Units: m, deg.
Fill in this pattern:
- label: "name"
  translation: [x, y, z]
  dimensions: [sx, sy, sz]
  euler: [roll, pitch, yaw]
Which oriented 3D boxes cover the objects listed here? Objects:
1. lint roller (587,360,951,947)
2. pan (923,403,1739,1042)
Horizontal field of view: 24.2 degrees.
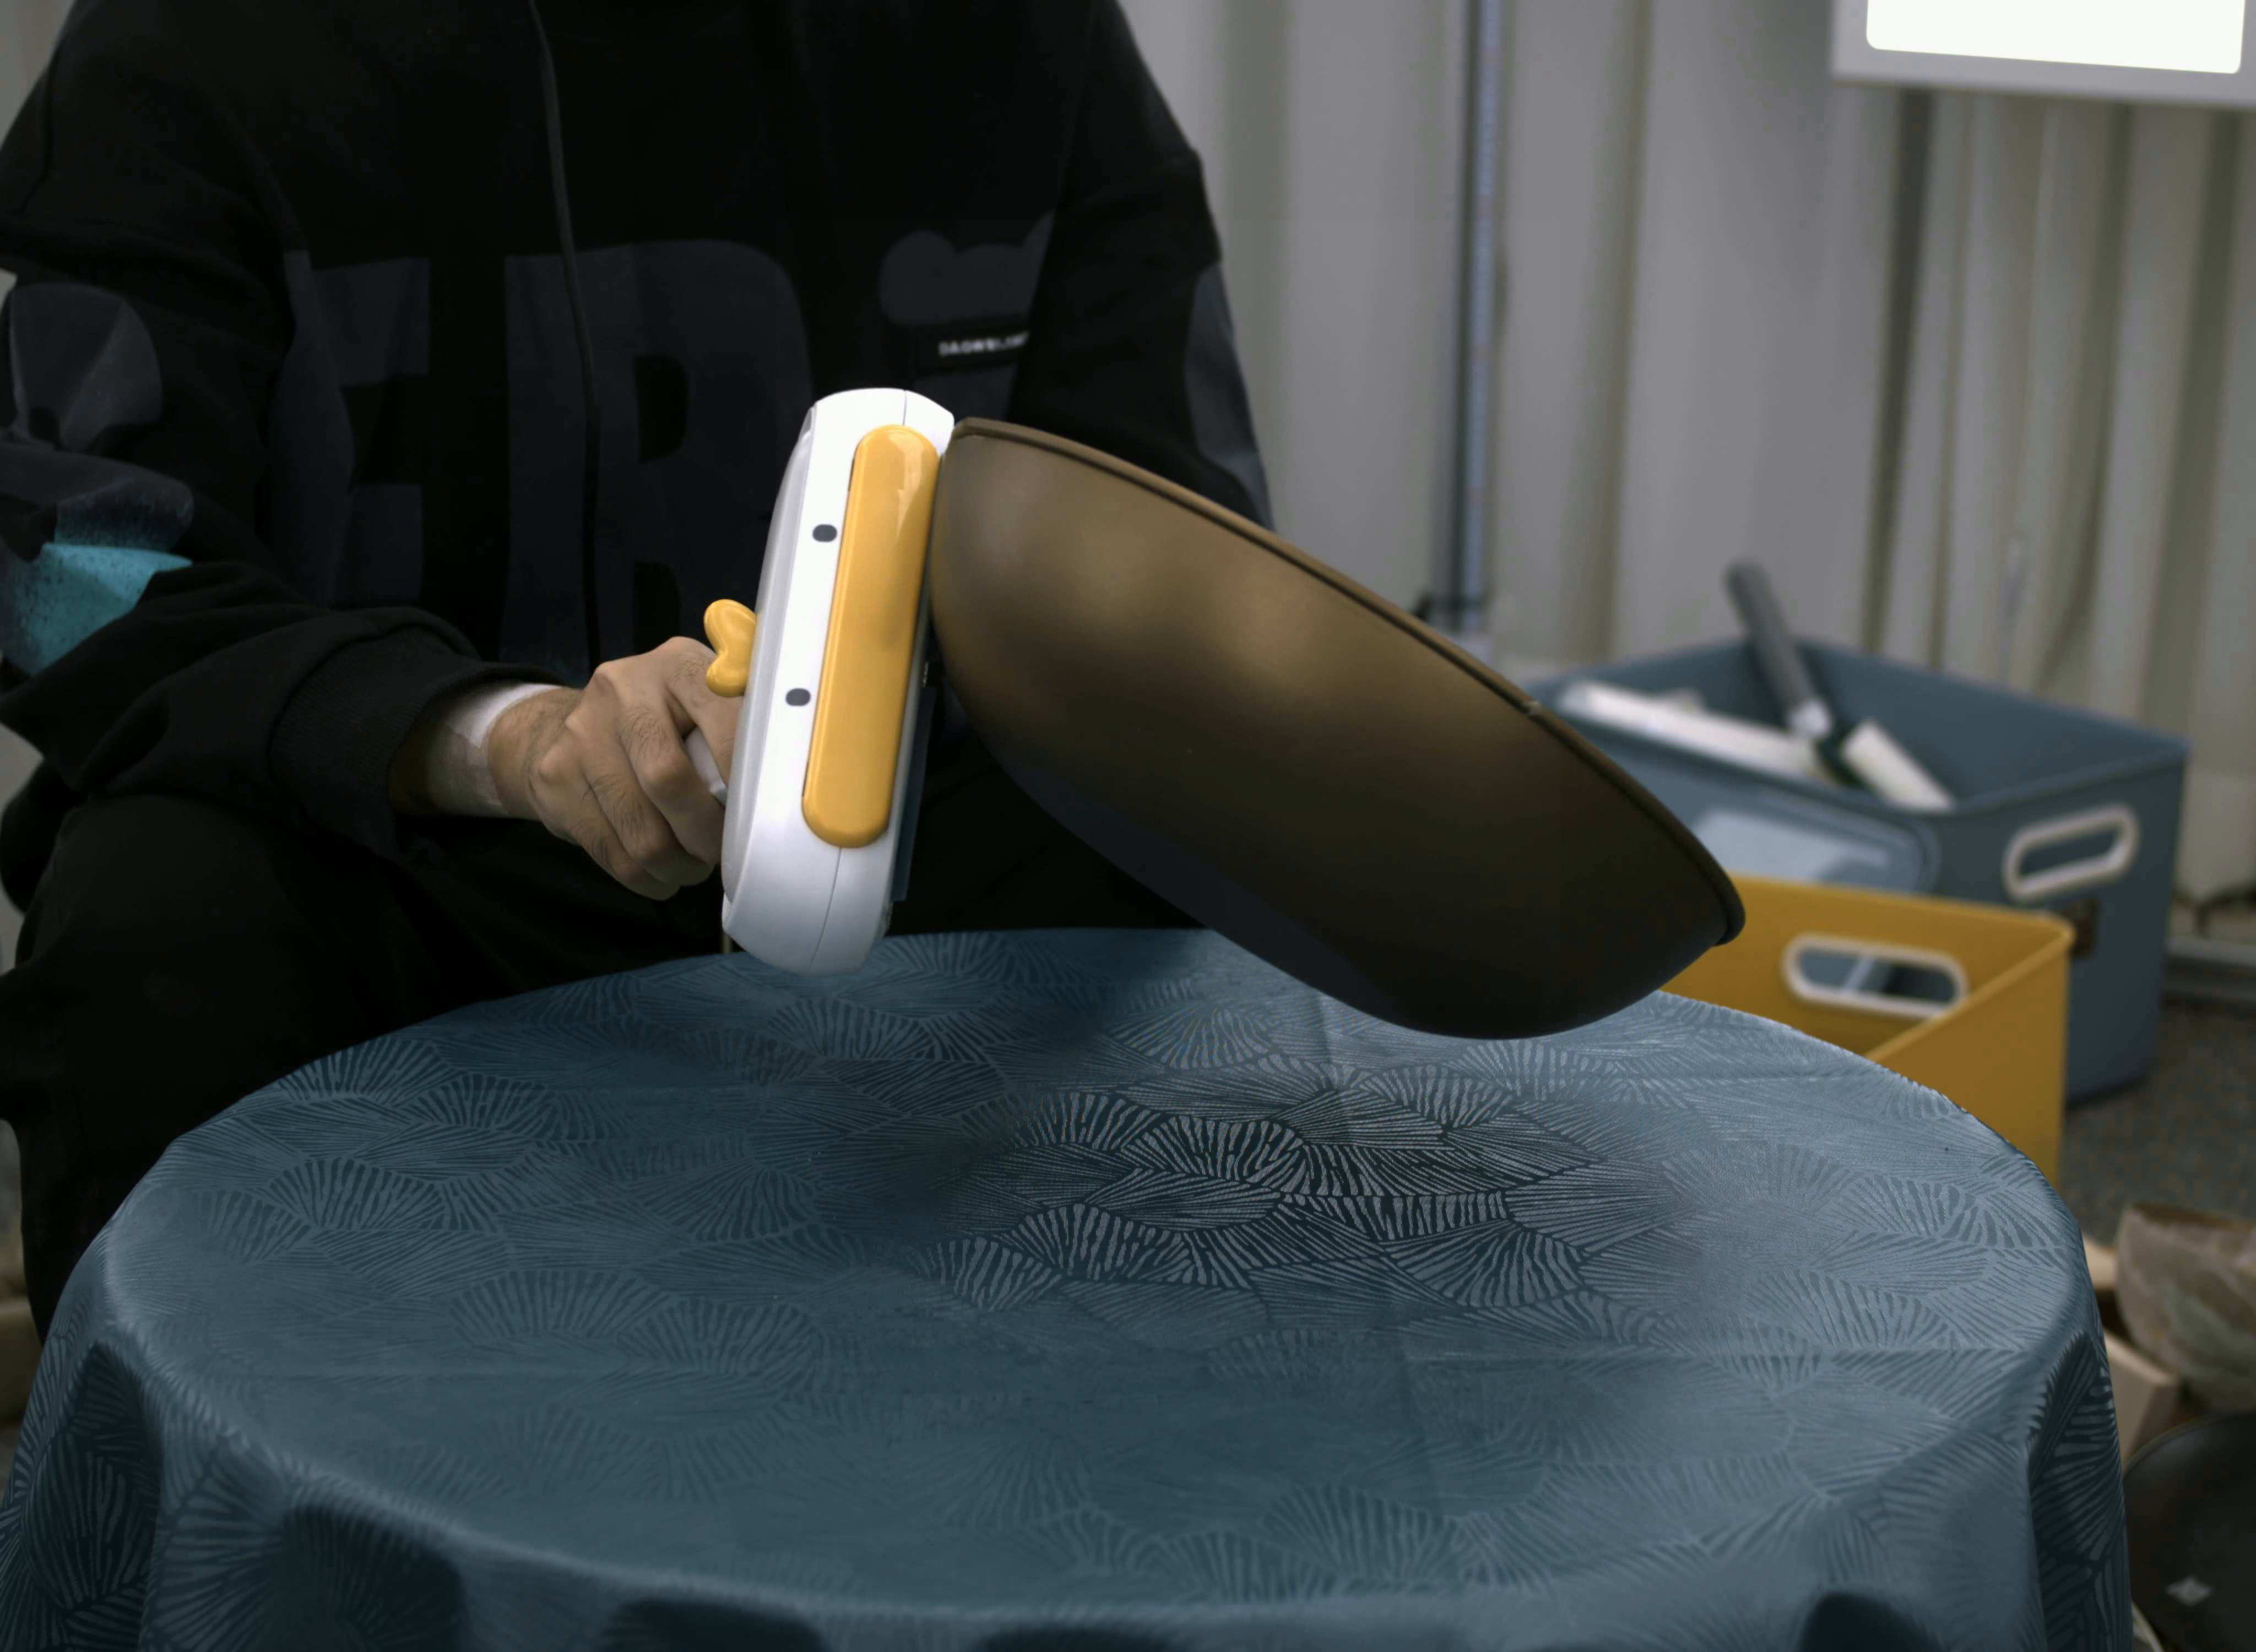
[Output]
- label: "lint roller"
  translation: [-0.117, -0.030, 1.665]
  dimensions: [0.074, 0.191, 0.192]
  euler: [11, -30, -19]
- label: "pan"
  translation: [0.018, -0.018, 1.672]
  dimensions: [0.290, 0.087, 0.460]
  euler: [35, -8, -16]
